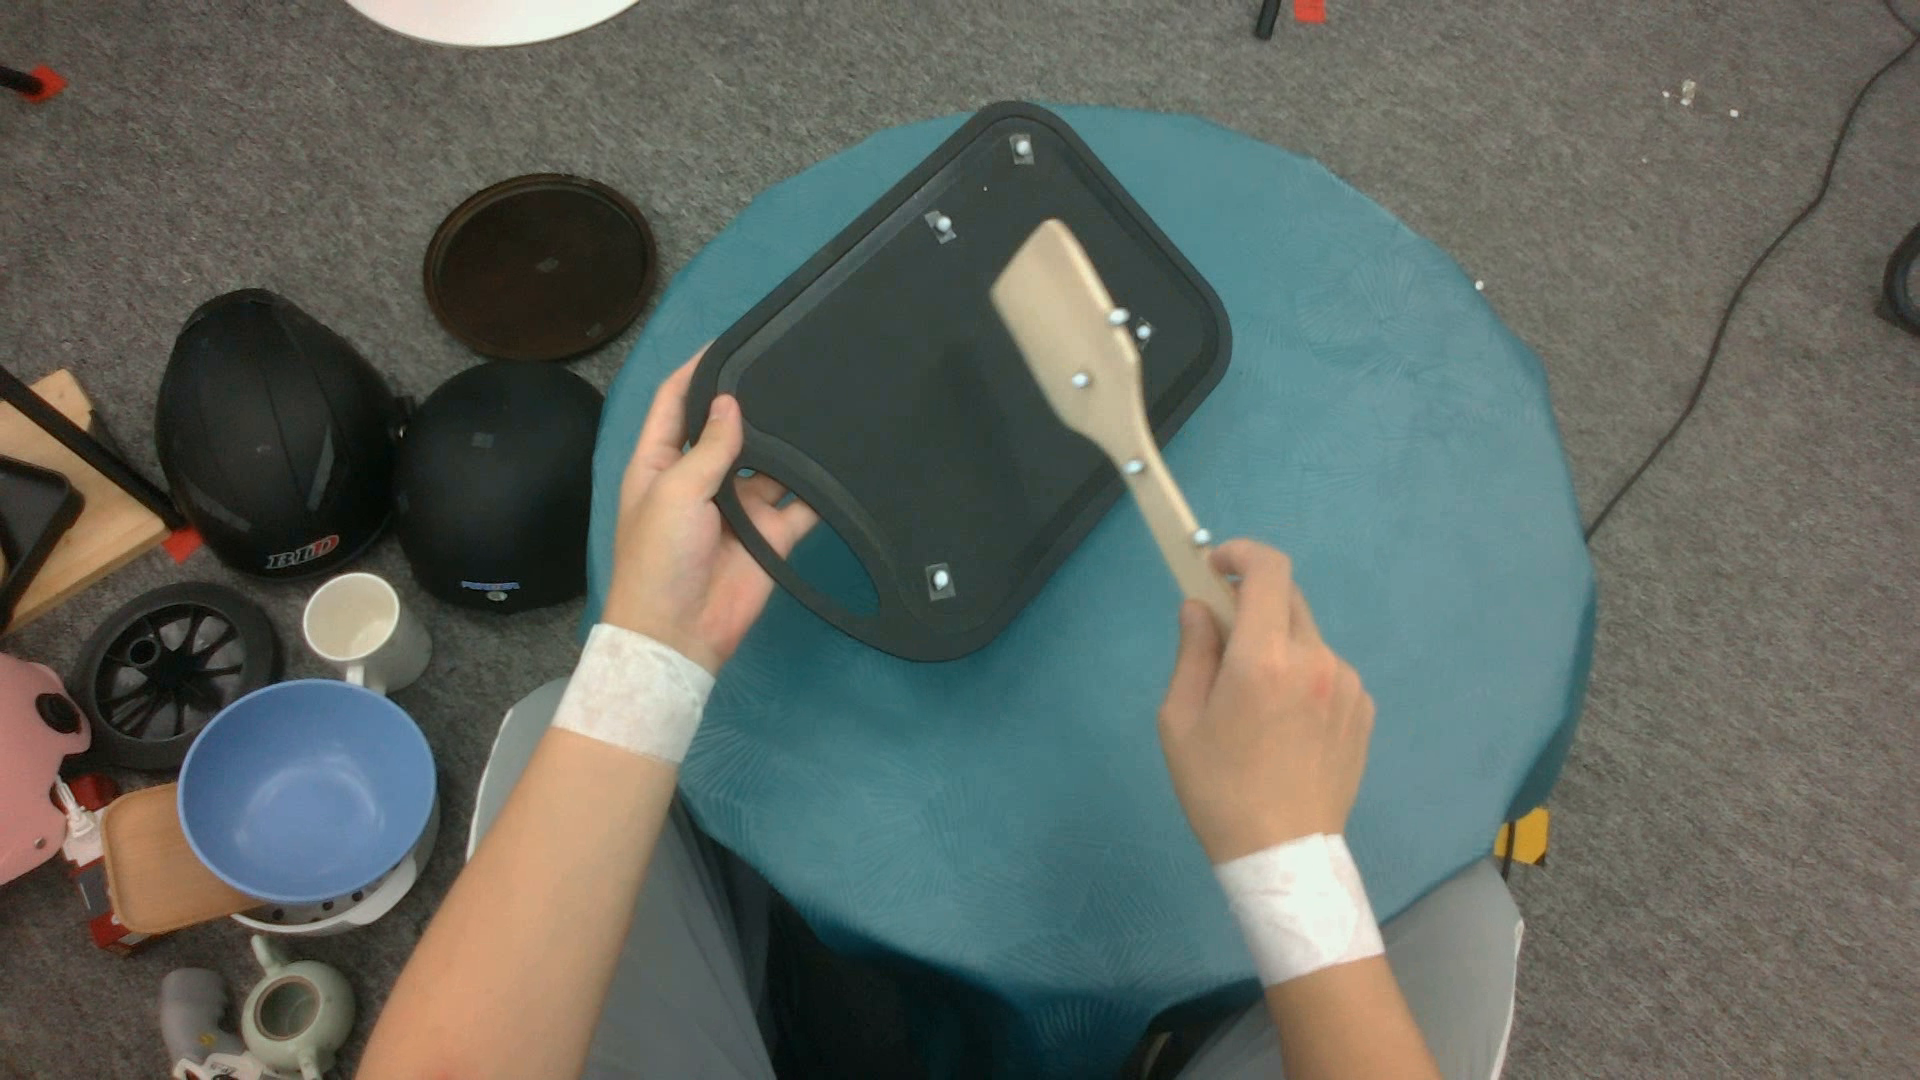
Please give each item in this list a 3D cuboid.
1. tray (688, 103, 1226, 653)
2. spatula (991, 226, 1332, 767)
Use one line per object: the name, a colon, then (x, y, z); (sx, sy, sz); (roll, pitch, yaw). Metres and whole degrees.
tray: (0.008, -0.094, 0.757); (0.211, 0.010, 0.327); (46, 64, -6)
spatula: (0.101, -0.020, 0.677); (0.011, 0.072, 0.293); (-22, 77, -32)
